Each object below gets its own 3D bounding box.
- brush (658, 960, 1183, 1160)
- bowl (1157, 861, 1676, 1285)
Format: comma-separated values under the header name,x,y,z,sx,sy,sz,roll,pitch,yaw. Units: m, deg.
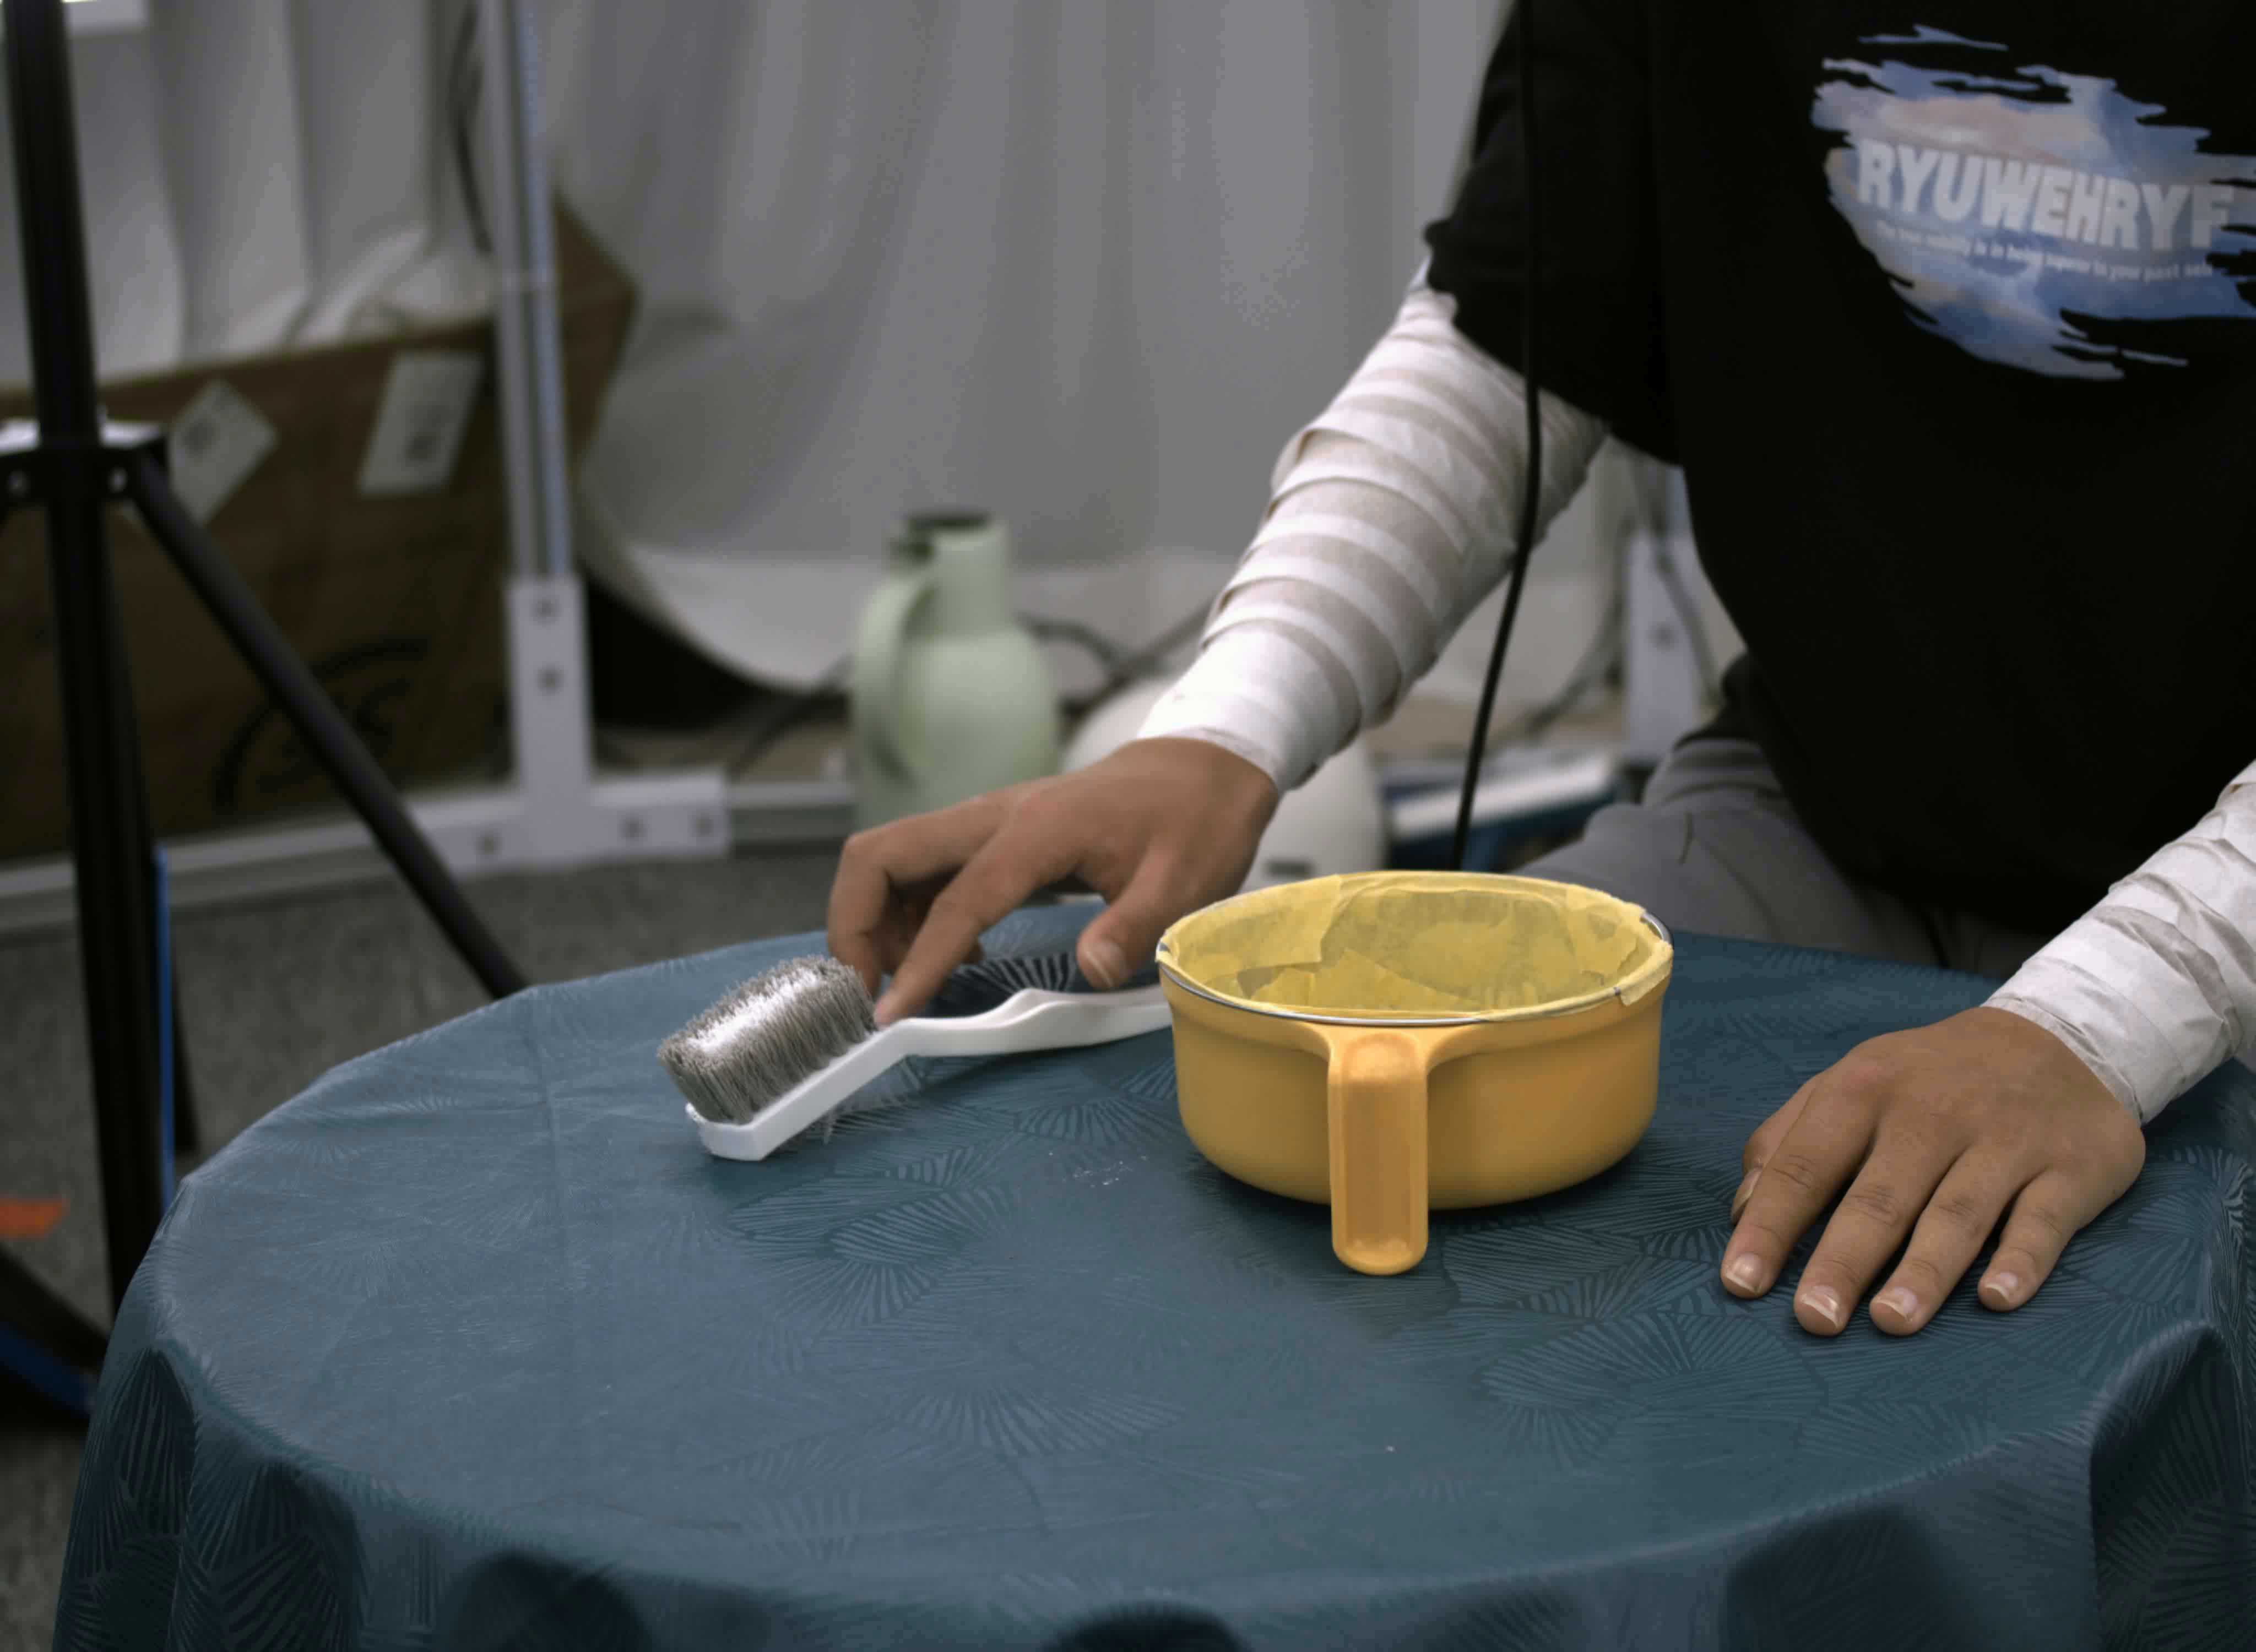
name,x,y,z,sx,sy,sz,roll,pitch,yaw
brush,-0.042,0.053,1.668,0.238,0.050,0.035,-15,18,-36
bowl,0.082,0.069,1.559,0.153,0.074,0.179,4,17,6
